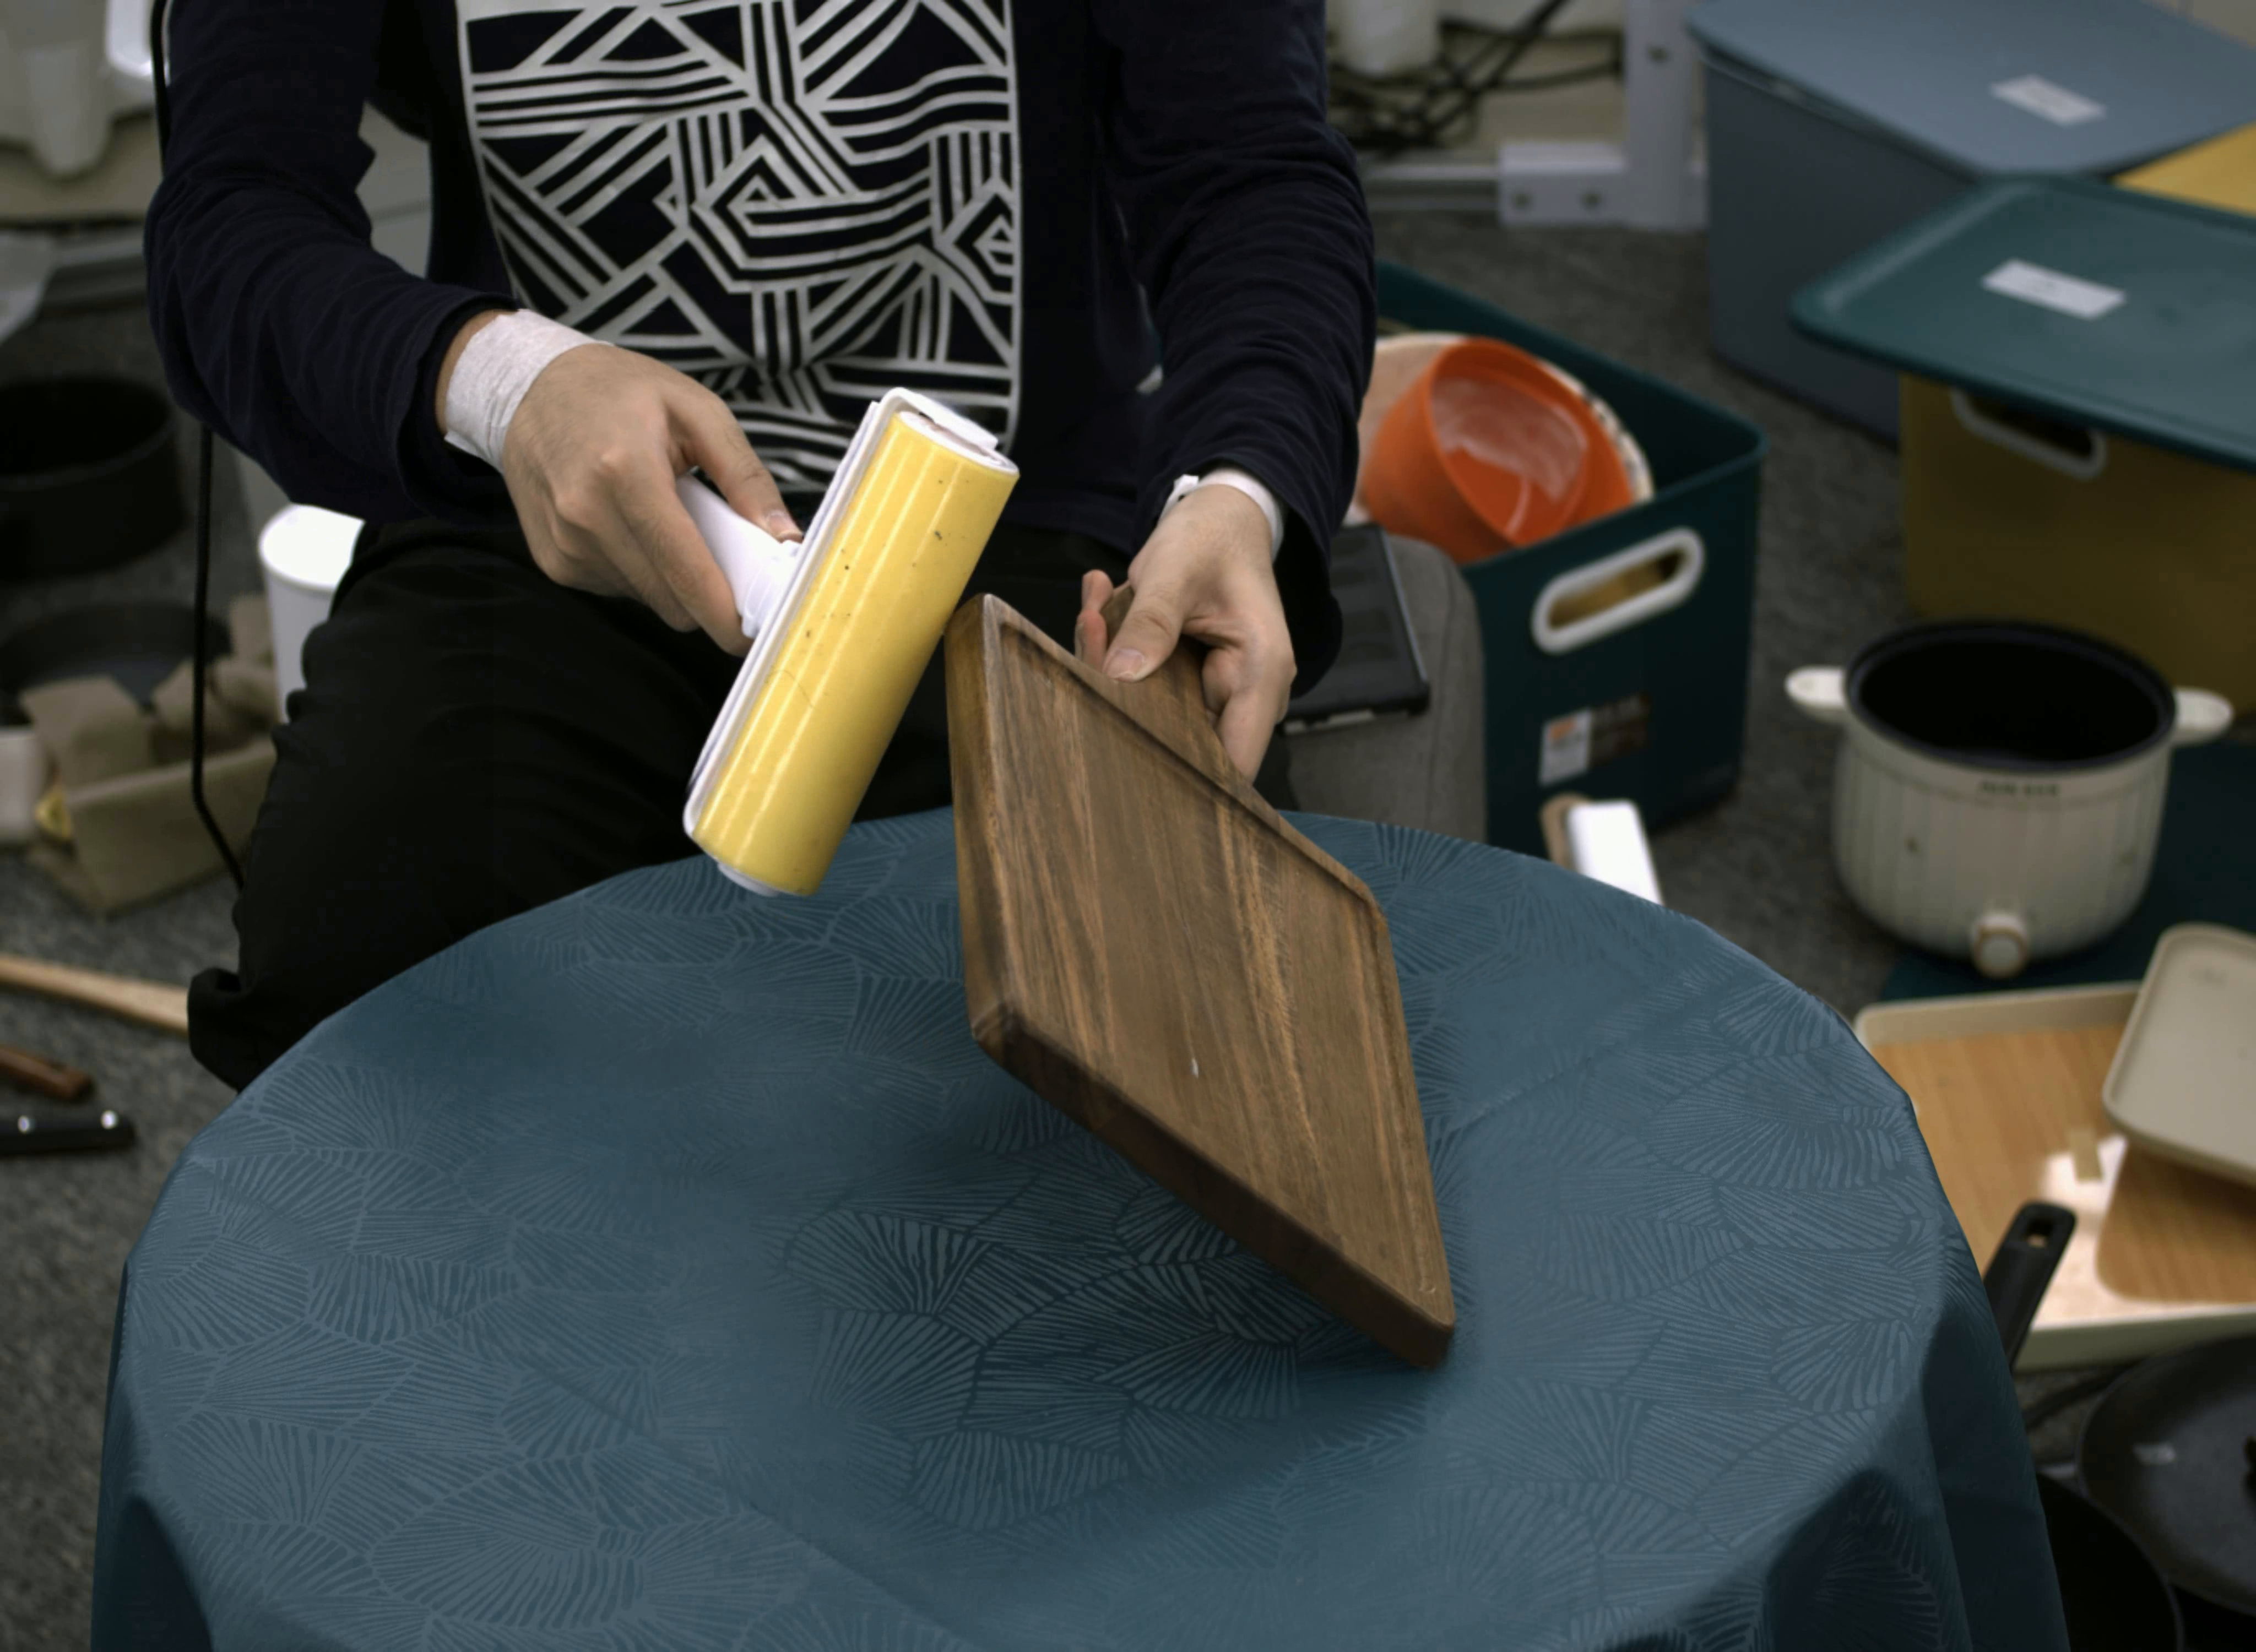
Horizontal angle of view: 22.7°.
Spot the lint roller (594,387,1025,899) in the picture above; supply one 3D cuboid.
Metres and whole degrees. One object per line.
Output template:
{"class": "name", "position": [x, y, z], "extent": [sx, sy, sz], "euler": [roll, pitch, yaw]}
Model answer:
{"class": "lint roller", "position": [-0.135, -0.087, 1.935], "extent": [0.192, 0.174, 0.051], "euler": [31, 9, 39]}

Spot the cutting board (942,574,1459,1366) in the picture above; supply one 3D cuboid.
{"class": "cutting board", "position": [0.018, 0.018, 1.863], "extent": [0.023, 0.200, 0.358], "euler": [-42, 26, 21]}
